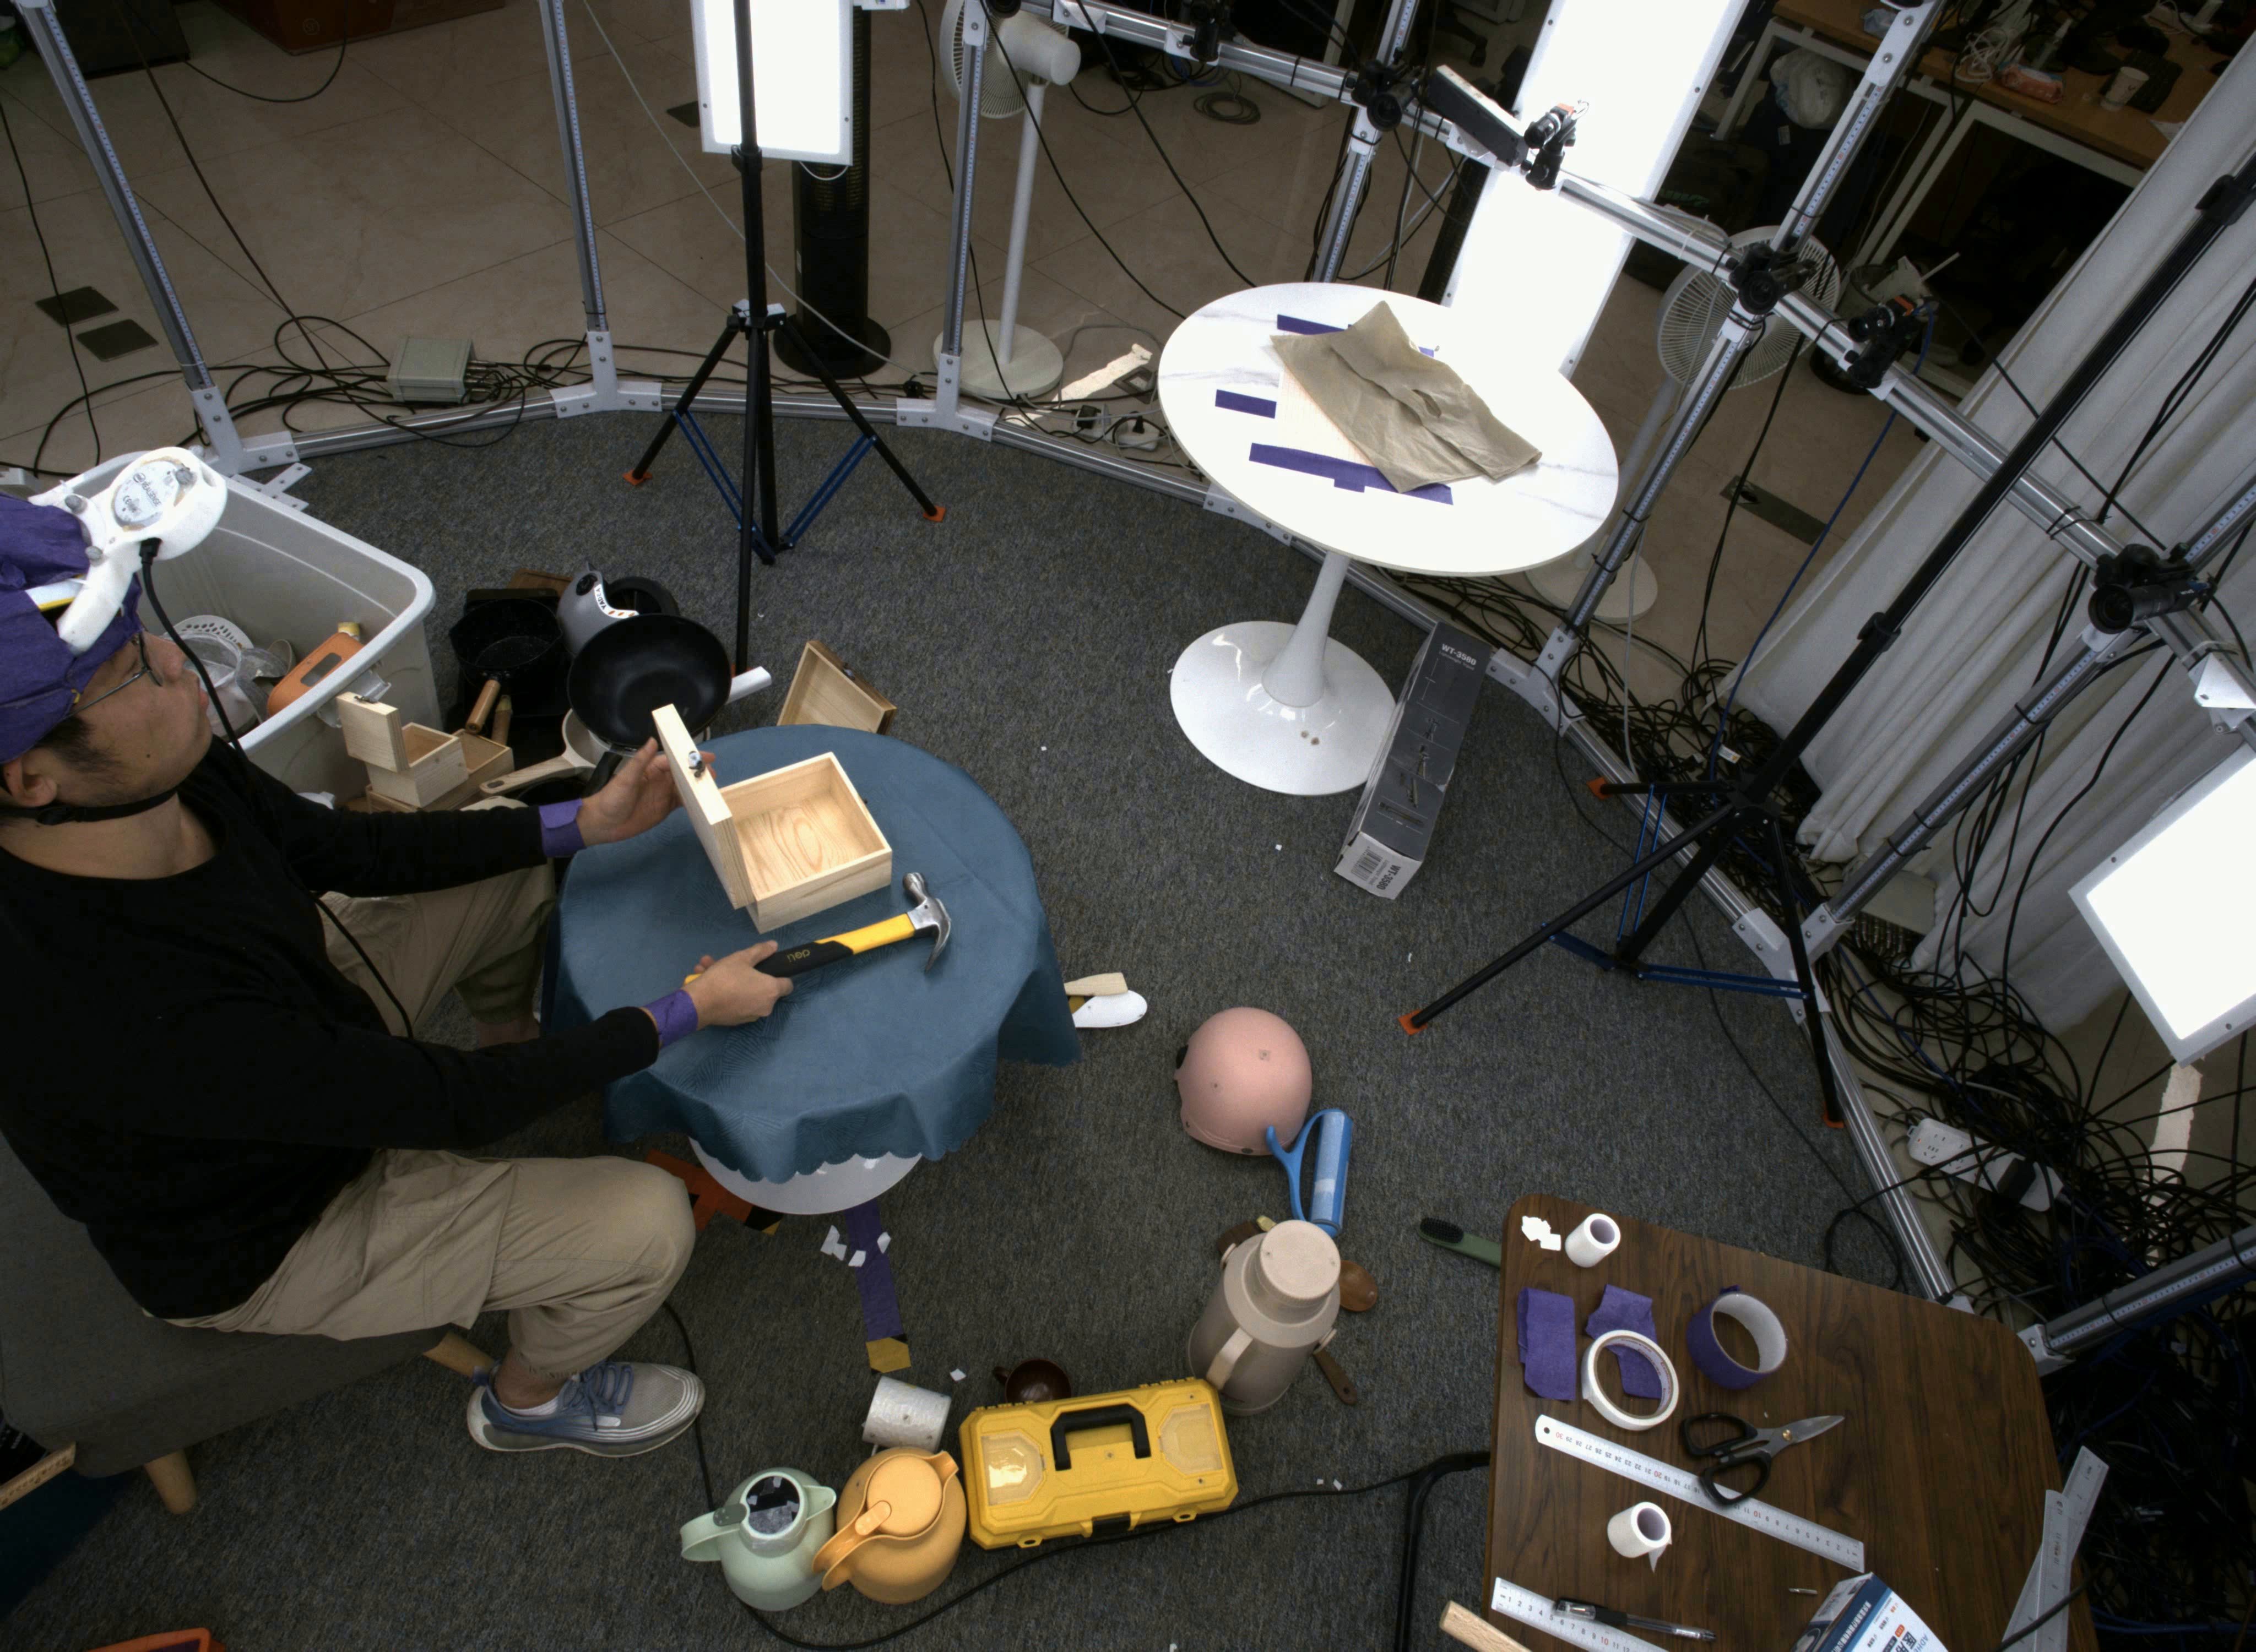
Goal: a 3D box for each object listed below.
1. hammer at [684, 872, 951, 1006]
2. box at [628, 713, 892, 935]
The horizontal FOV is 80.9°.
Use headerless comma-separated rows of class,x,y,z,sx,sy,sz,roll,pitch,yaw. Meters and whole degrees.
hammer,-0.371,0.149,1.577,0.342,0.033,0.128,-15,59,-34
box,-0.438,-0.026,1.576,0.266,0.258,0.177,-23,62,-28
